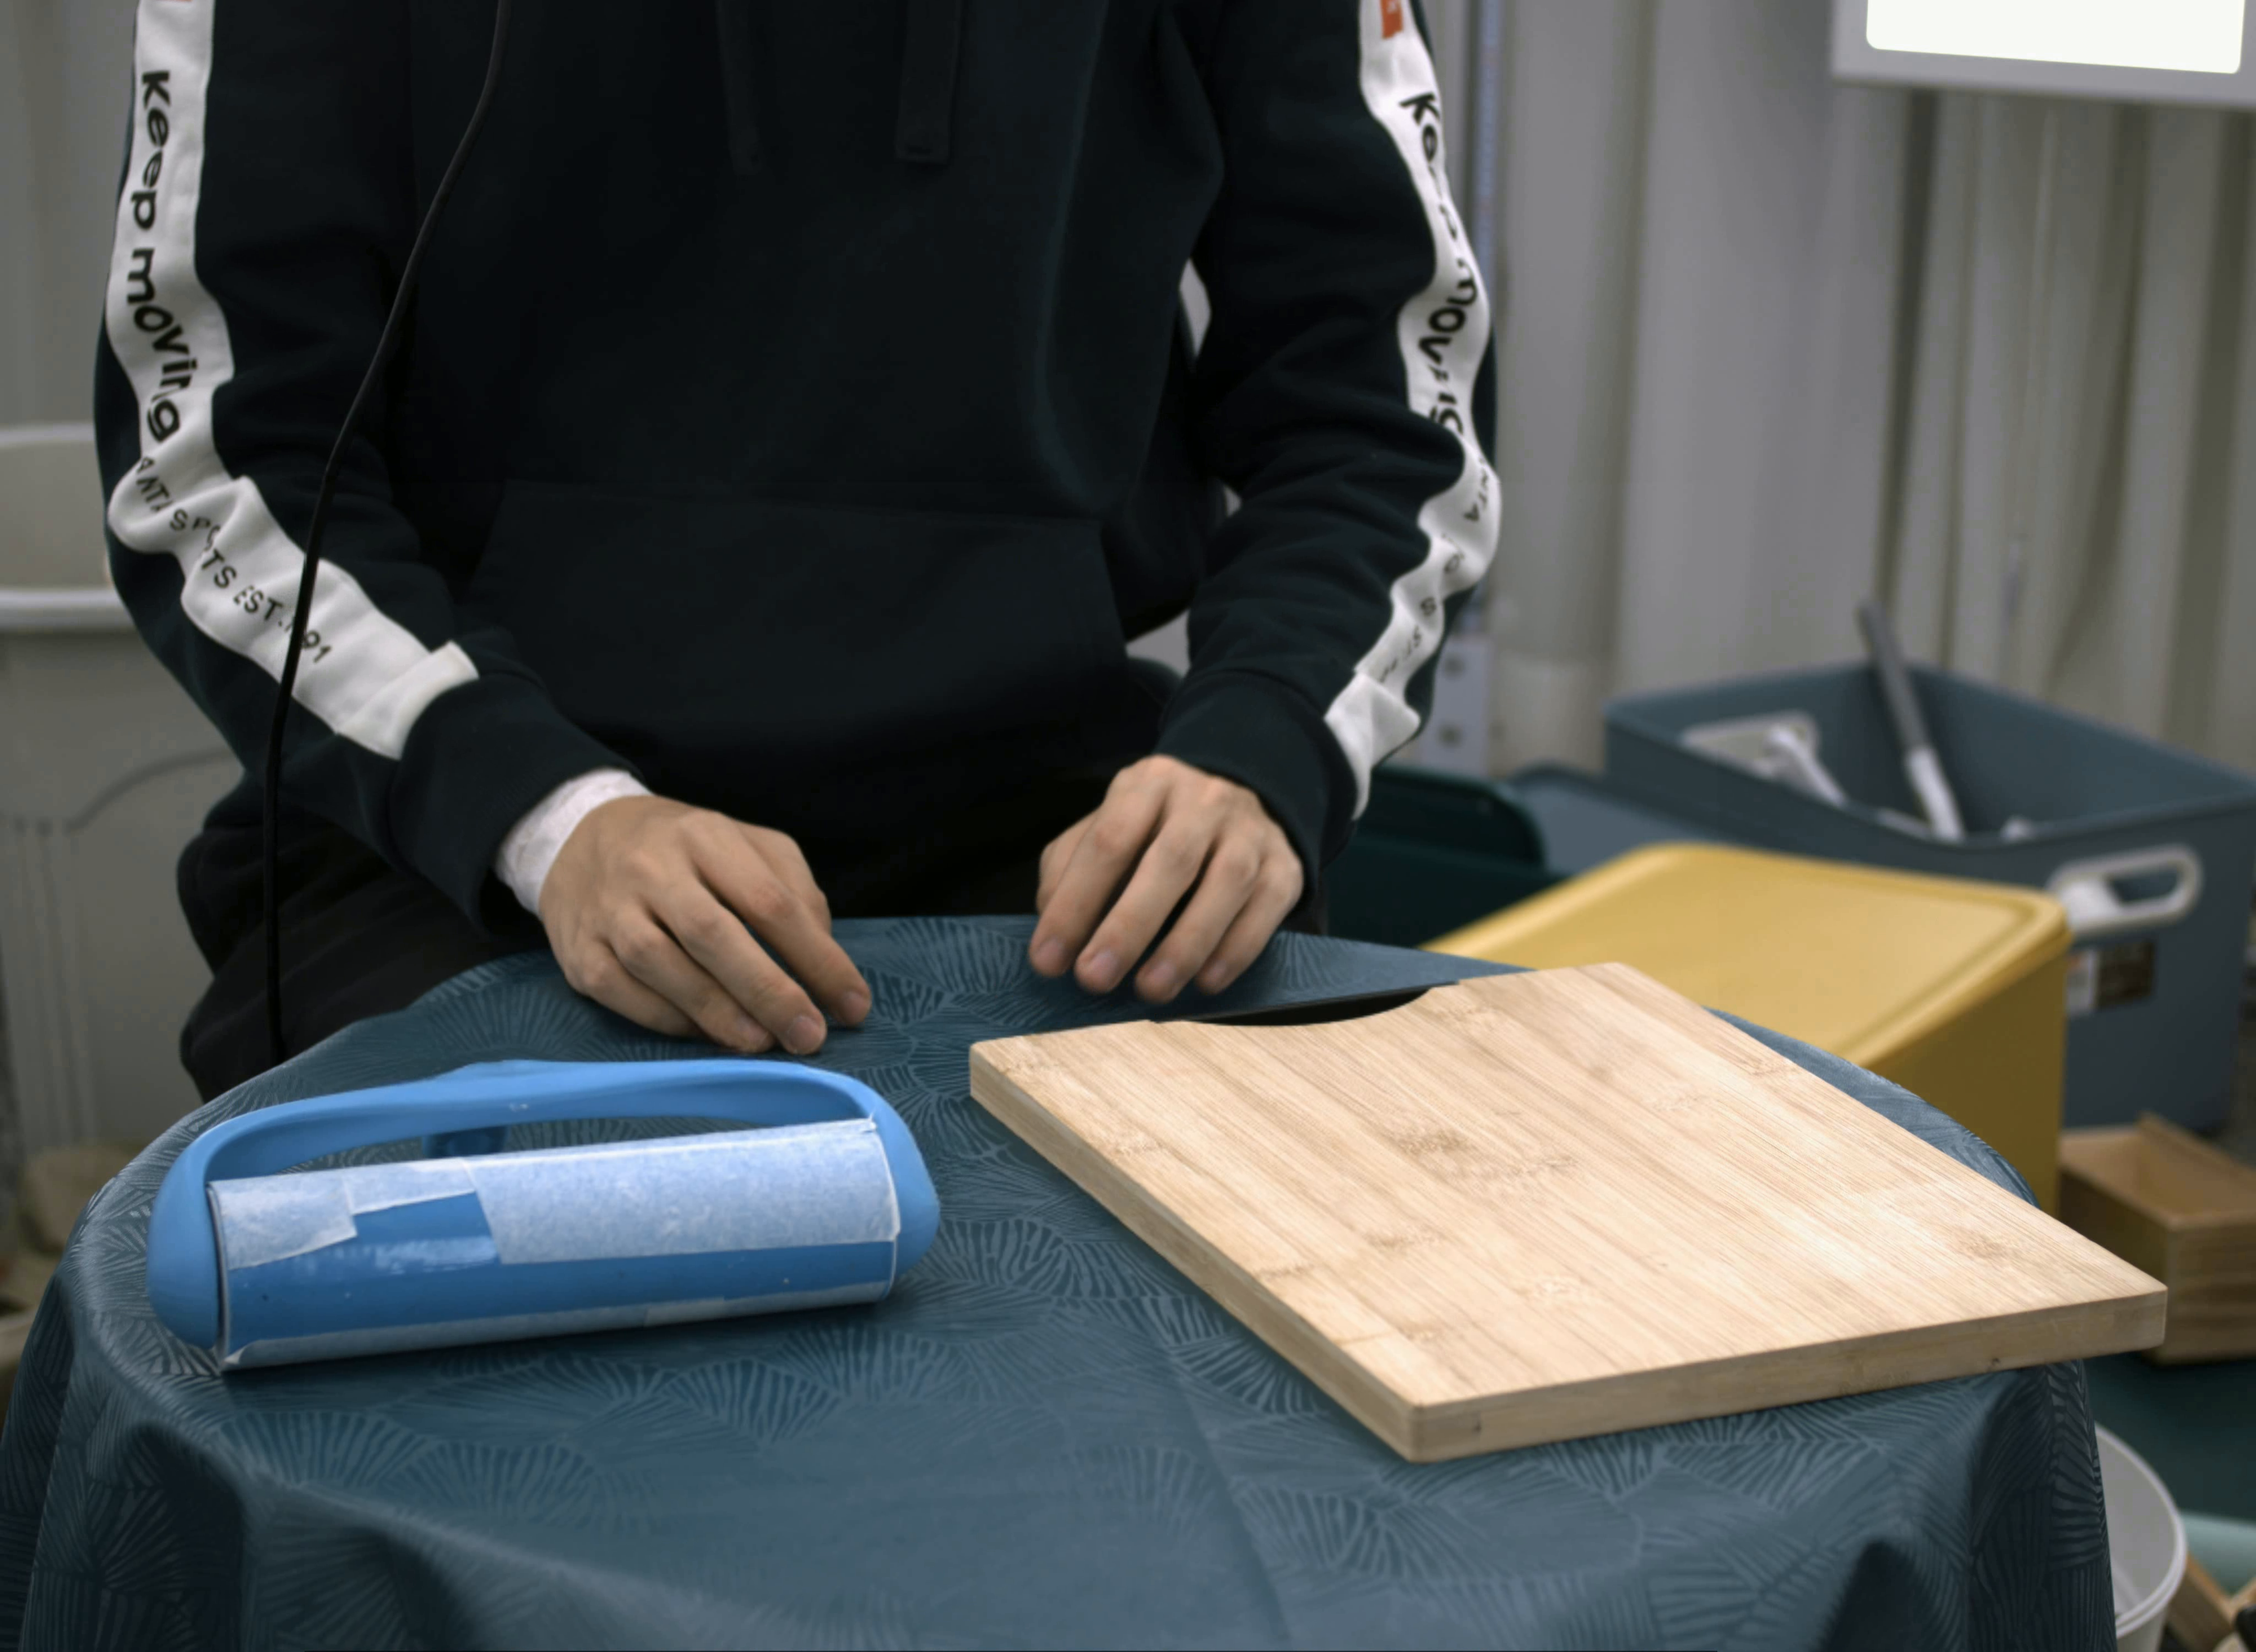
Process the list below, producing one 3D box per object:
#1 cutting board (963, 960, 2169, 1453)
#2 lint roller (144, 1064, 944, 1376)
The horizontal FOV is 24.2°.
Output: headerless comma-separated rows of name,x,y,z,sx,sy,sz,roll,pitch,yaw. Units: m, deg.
cutting board,0.121,0.109,1.606,0.251,0.024,0.344,-6,17,-23
lint roller,-0.183,0.102,1.544,0.229,0.068,0.178,-7,18,-19
